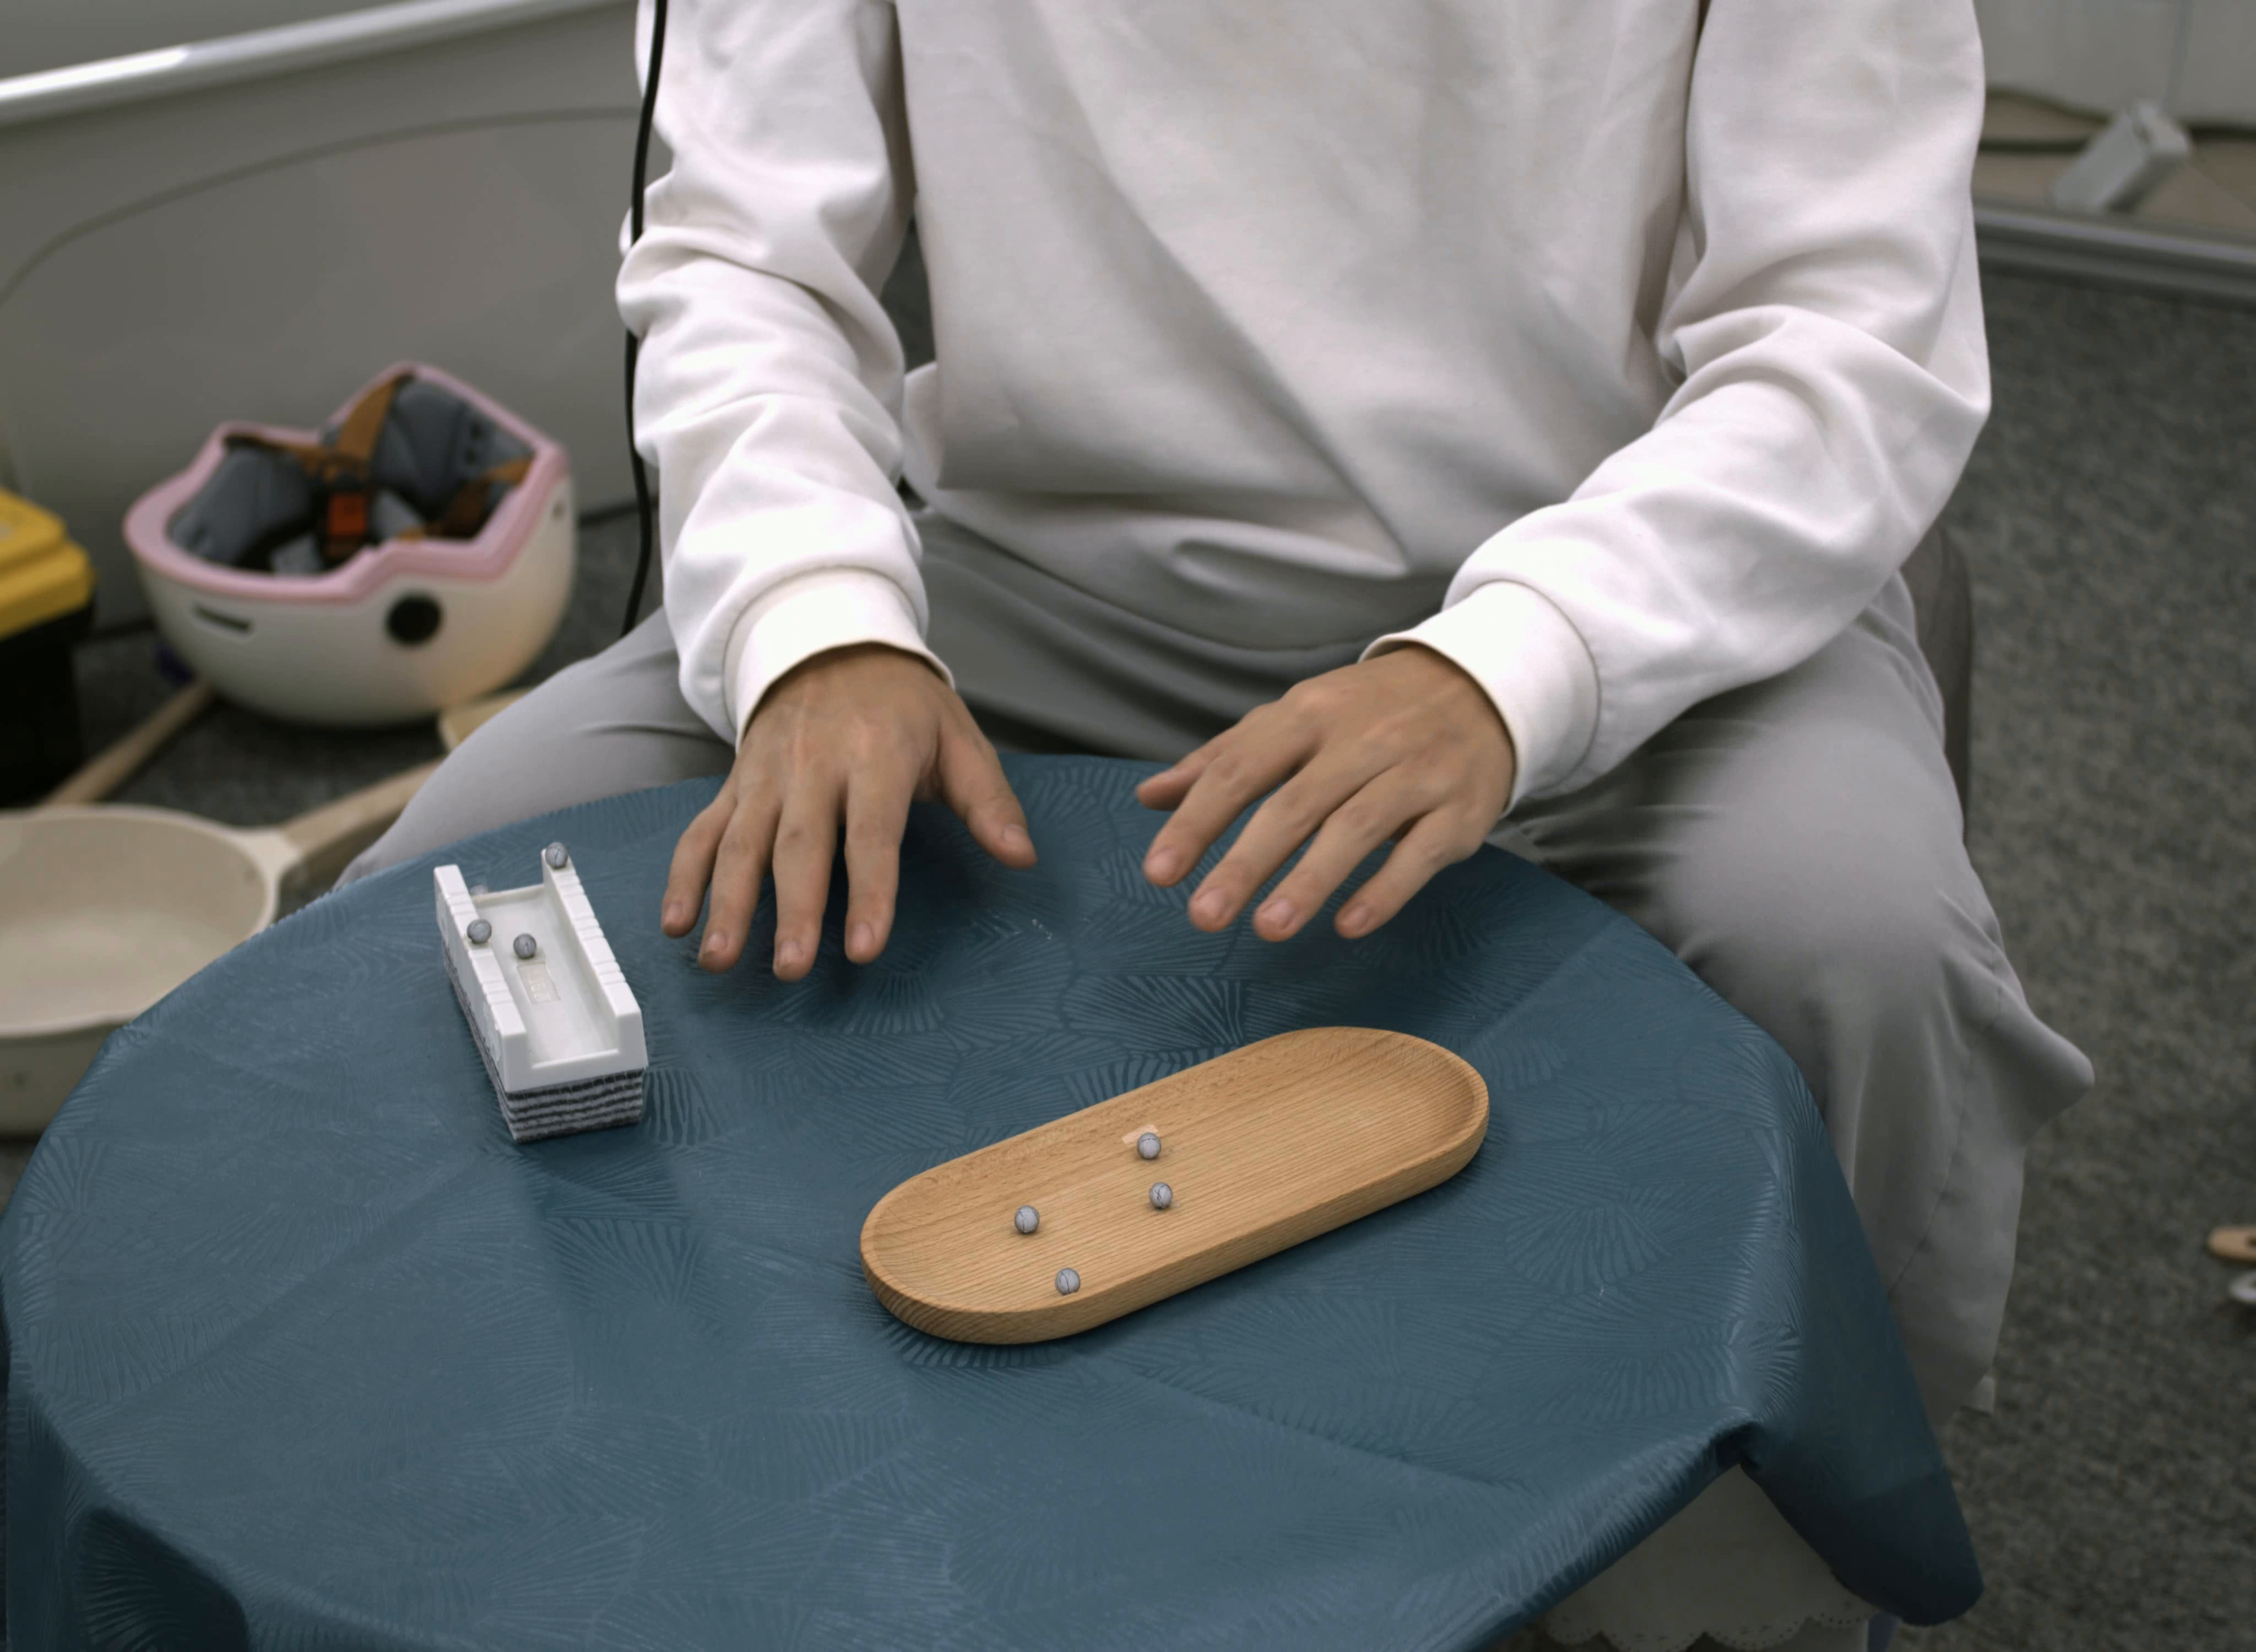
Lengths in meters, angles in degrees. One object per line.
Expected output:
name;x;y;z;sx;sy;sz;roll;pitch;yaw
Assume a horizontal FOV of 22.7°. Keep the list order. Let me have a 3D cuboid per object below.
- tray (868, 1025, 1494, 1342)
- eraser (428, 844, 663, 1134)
tray;0.019;0.117;1.854;0.233;0.020;0.102;-19;32;-31
eraser;-0.204;0.057;1.956;0.050;0.046;0.135;-7;26;-19
